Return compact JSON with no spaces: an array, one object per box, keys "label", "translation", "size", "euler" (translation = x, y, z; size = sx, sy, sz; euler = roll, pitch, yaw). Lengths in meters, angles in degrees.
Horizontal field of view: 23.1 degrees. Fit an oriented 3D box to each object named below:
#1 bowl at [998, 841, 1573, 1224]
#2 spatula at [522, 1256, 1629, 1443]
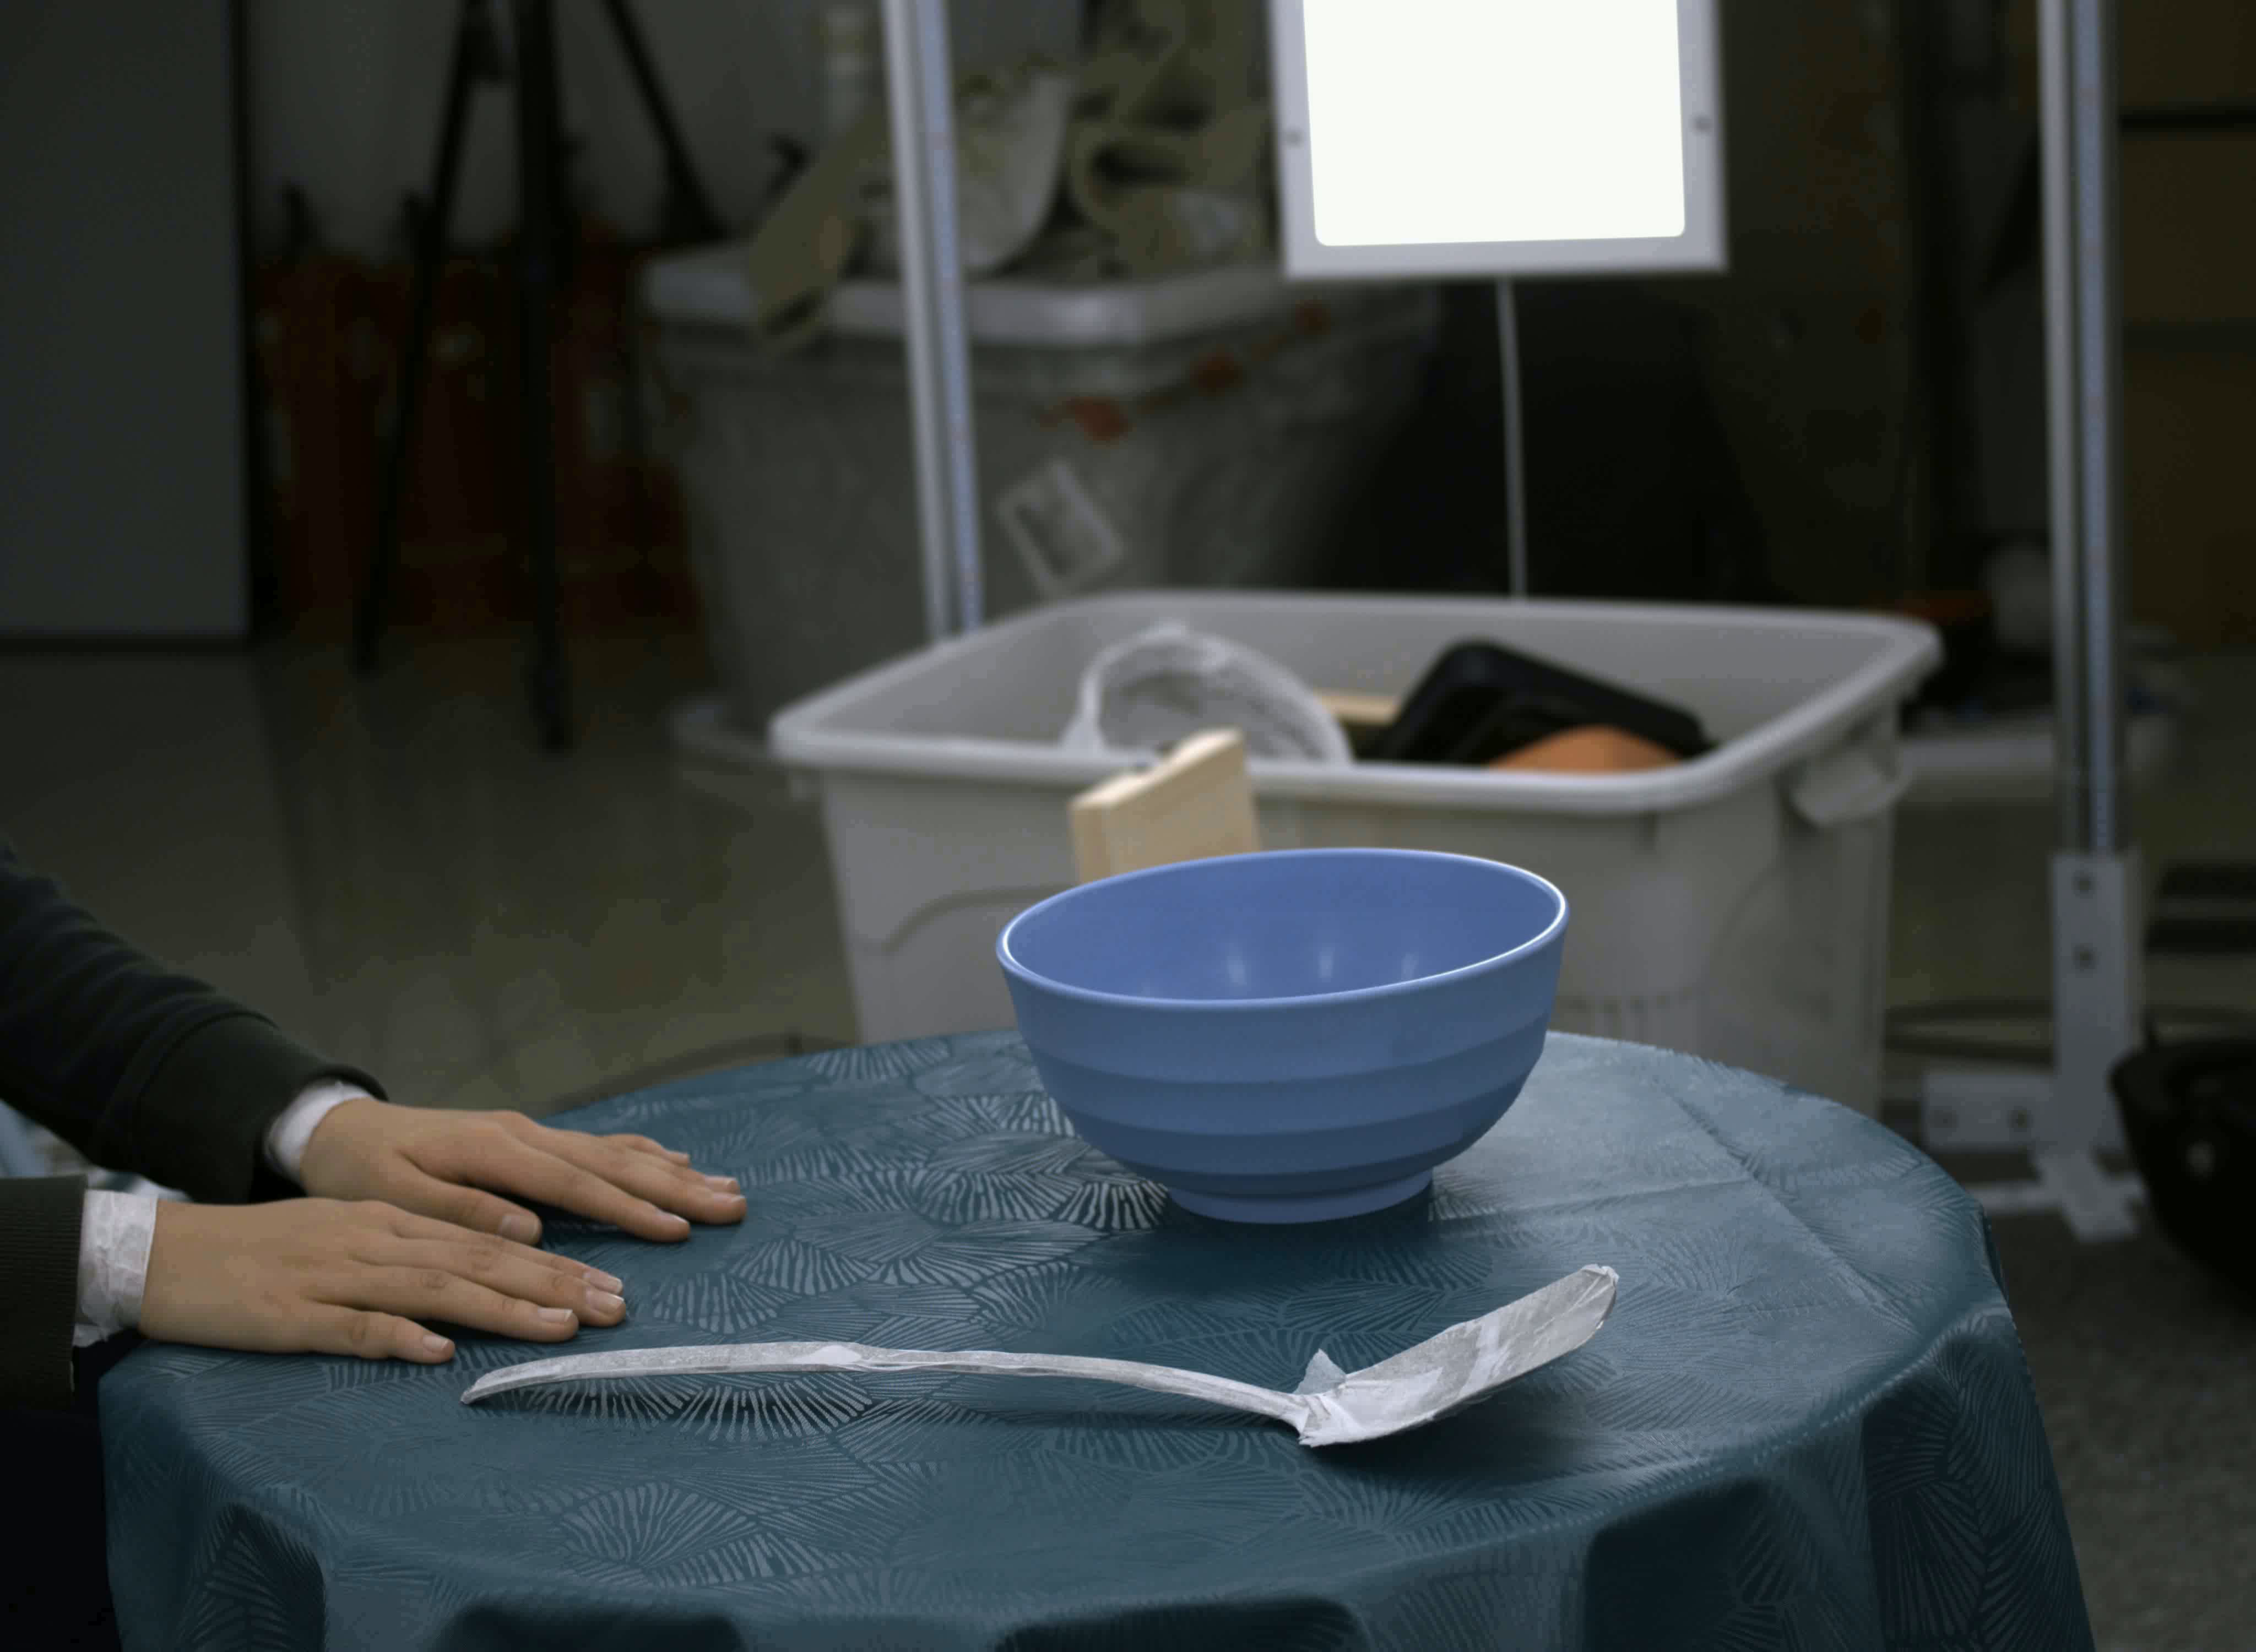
[{"label":"bowl","translation":[0.056,0.077,1.880],"size":[0.196,0.096,0.196],"euler":[-5,15,0]},{"label":"spatula","translation":[-0.026,0.160,1.688],"size":[0.369,0.045,0.097],"euler":[0,16,20]}]
